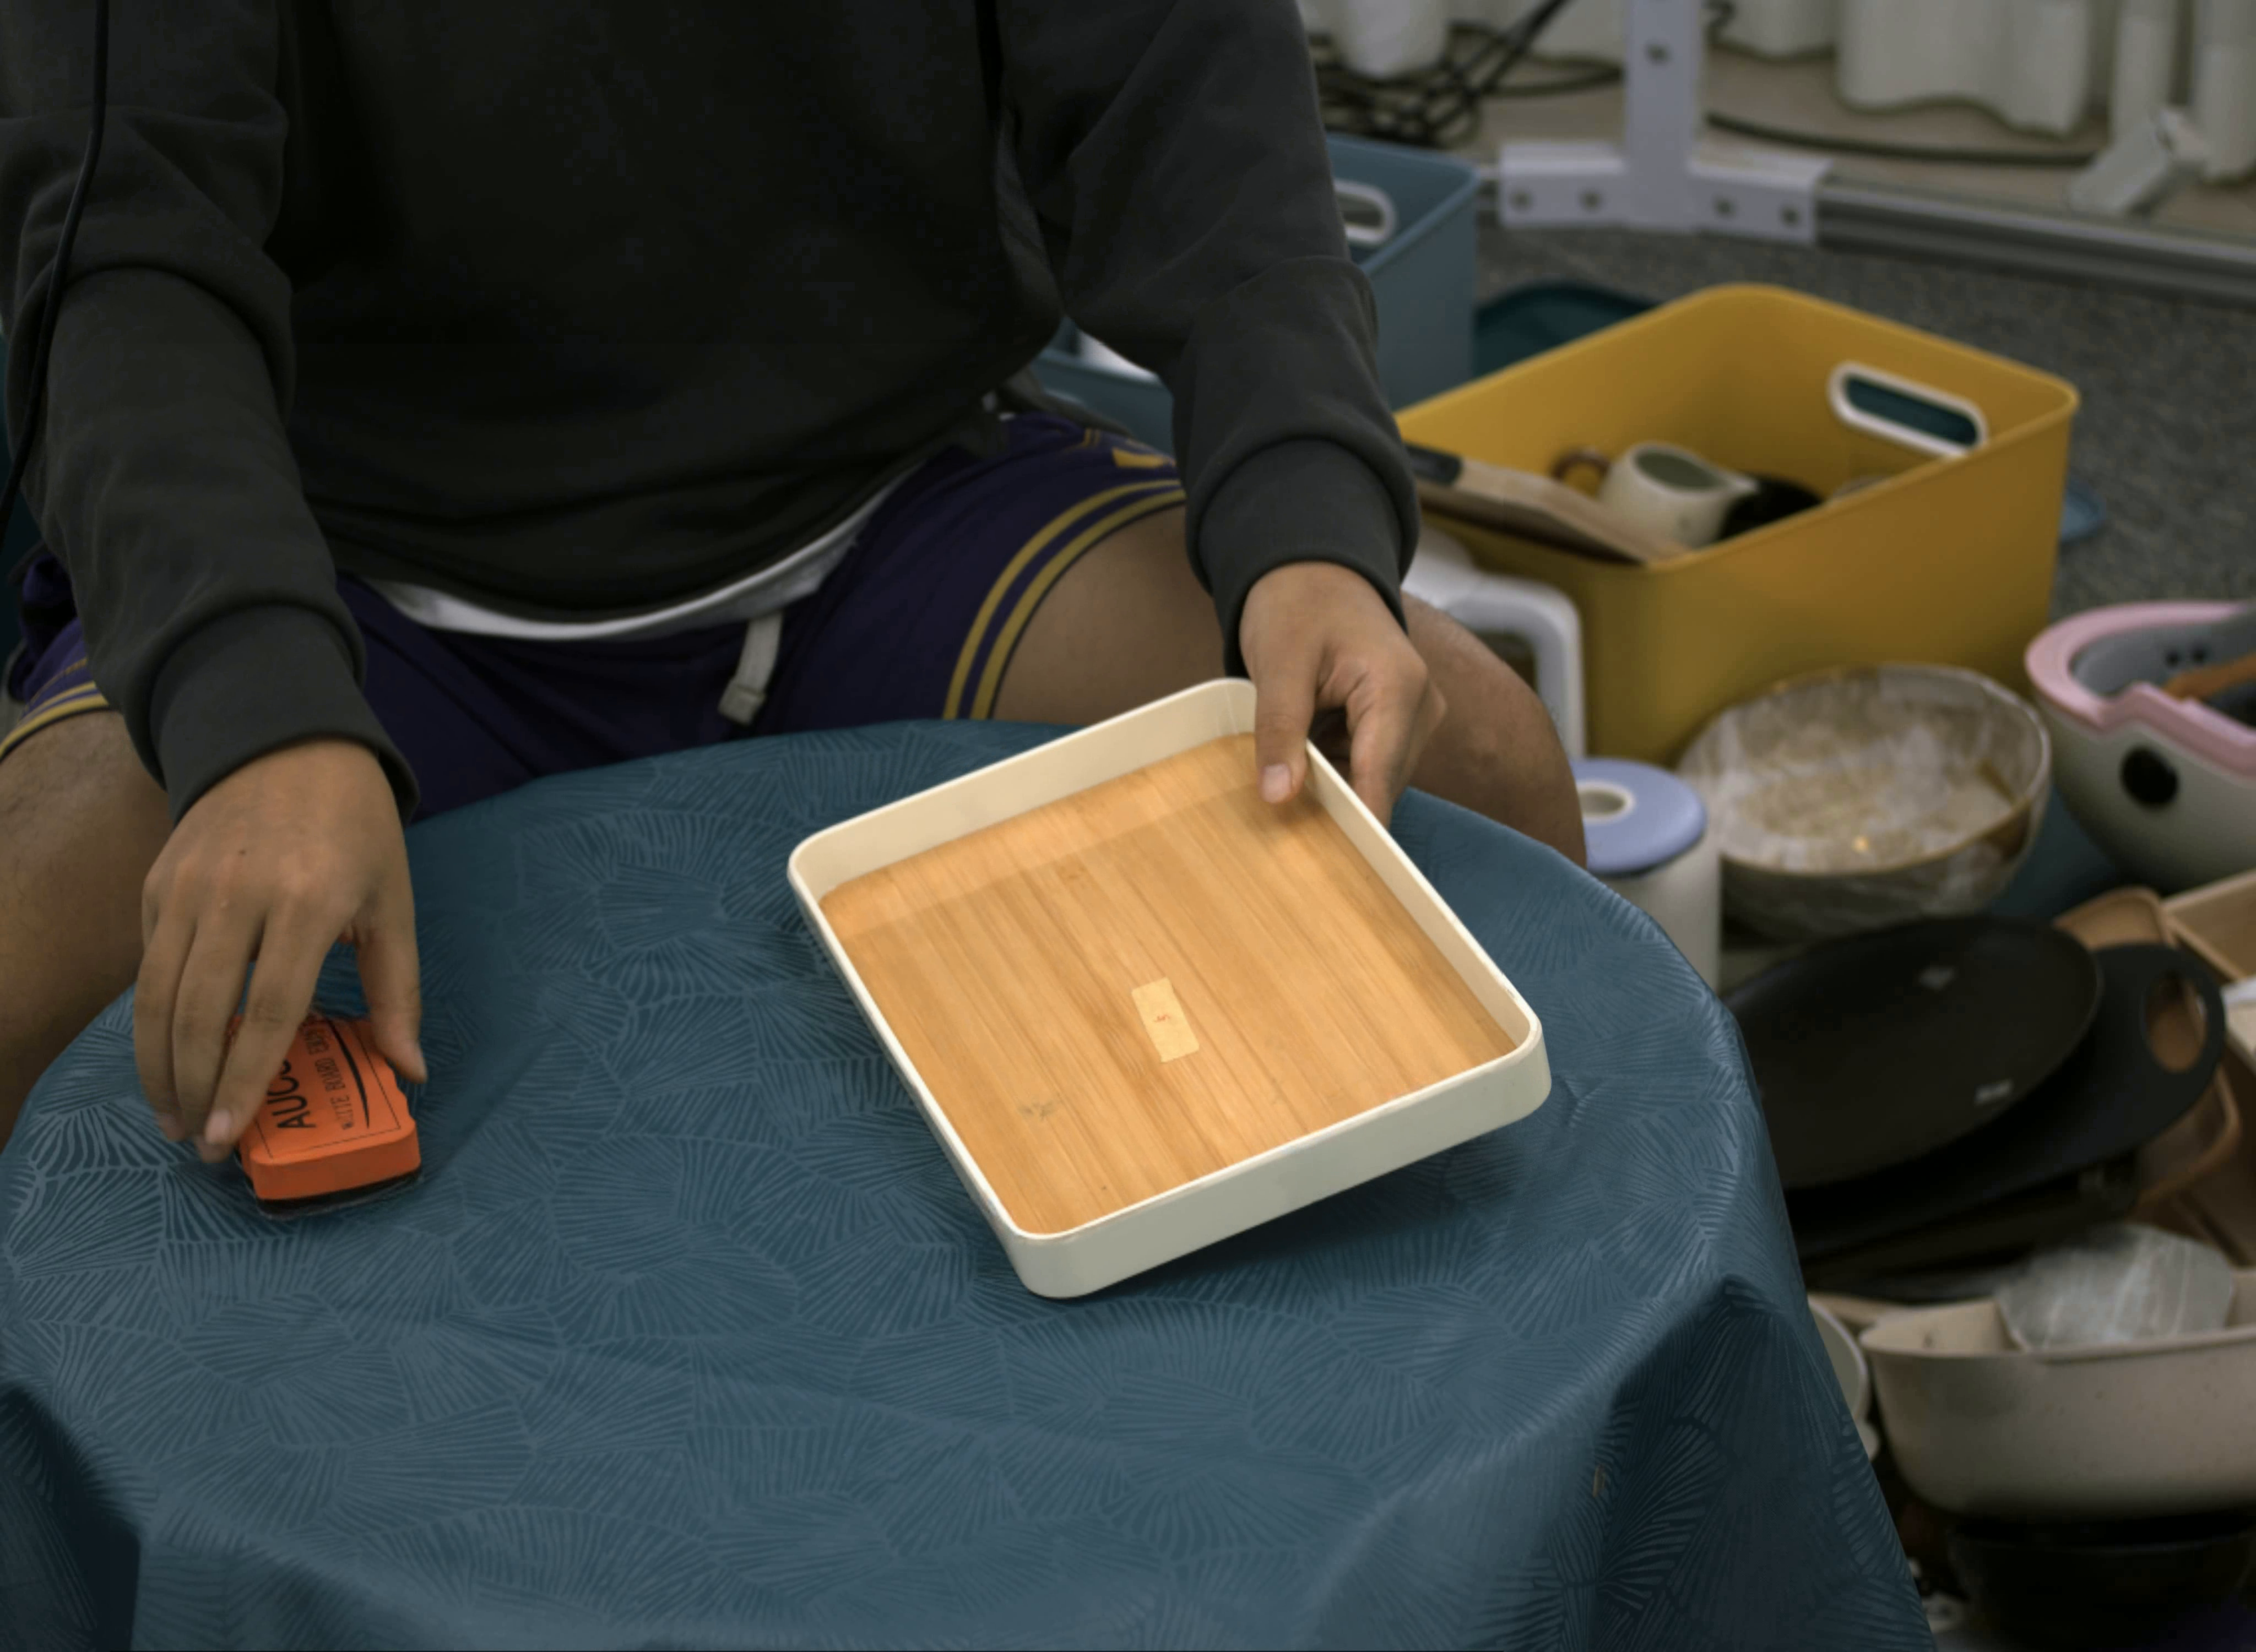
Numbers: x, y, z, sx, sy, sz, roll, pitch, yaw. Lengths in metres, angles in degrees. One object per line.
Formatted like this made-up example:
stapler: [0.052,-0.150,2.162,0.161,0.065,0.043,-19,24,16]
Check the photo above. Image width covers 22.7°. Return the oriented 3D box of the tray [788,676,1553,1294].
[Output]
tray: [0.009,0.049,1.936,0.192,0.027,0.303,-21,31,-10]

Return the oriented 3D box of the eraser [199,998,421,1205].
eraser: [-0.279,0.094,1.913,0.059,0.022,0.109,-6,25,-19]
